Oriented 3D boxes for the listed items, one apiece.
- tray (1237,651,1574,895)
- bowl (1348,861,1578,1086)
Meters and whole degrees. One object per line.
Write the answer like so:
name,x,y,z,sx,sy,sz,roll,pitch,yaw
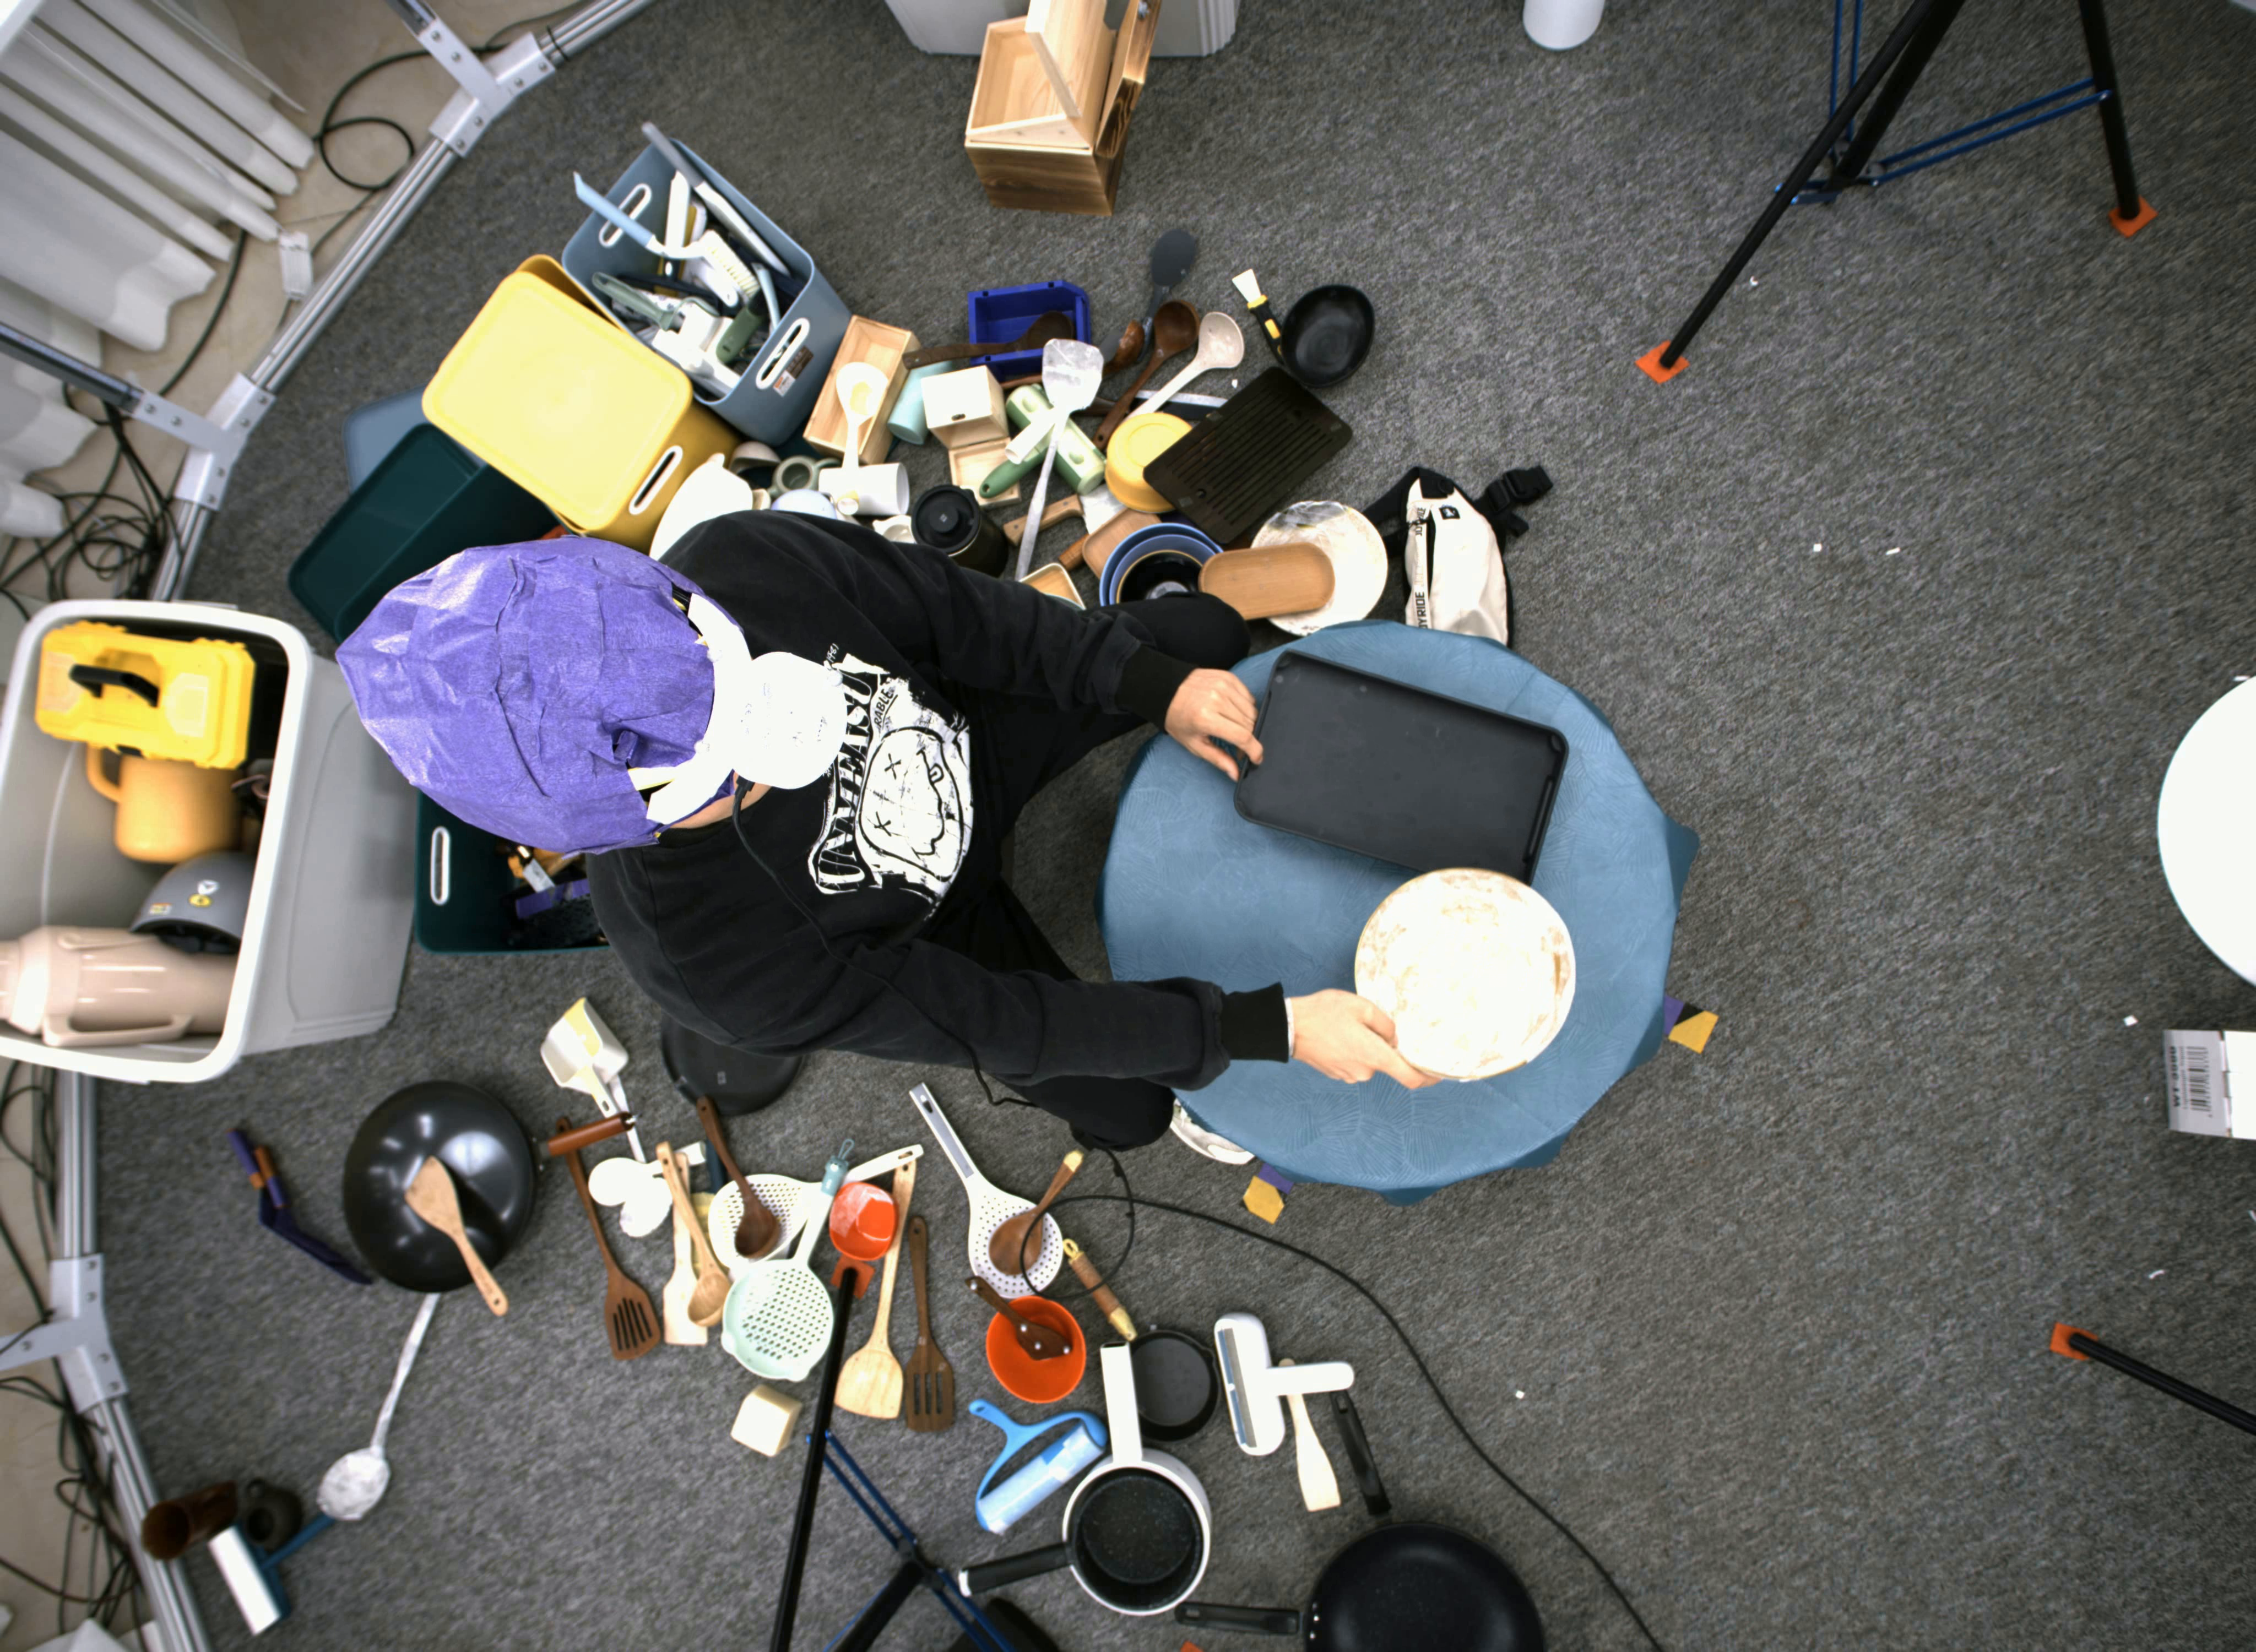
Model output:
tray,0.285,-0.051,1.424,0.318,0.037,0.184,18,91,2
bowl,0.323,0.147,1.329,0.216,0.095,0.212,-4,76,16
